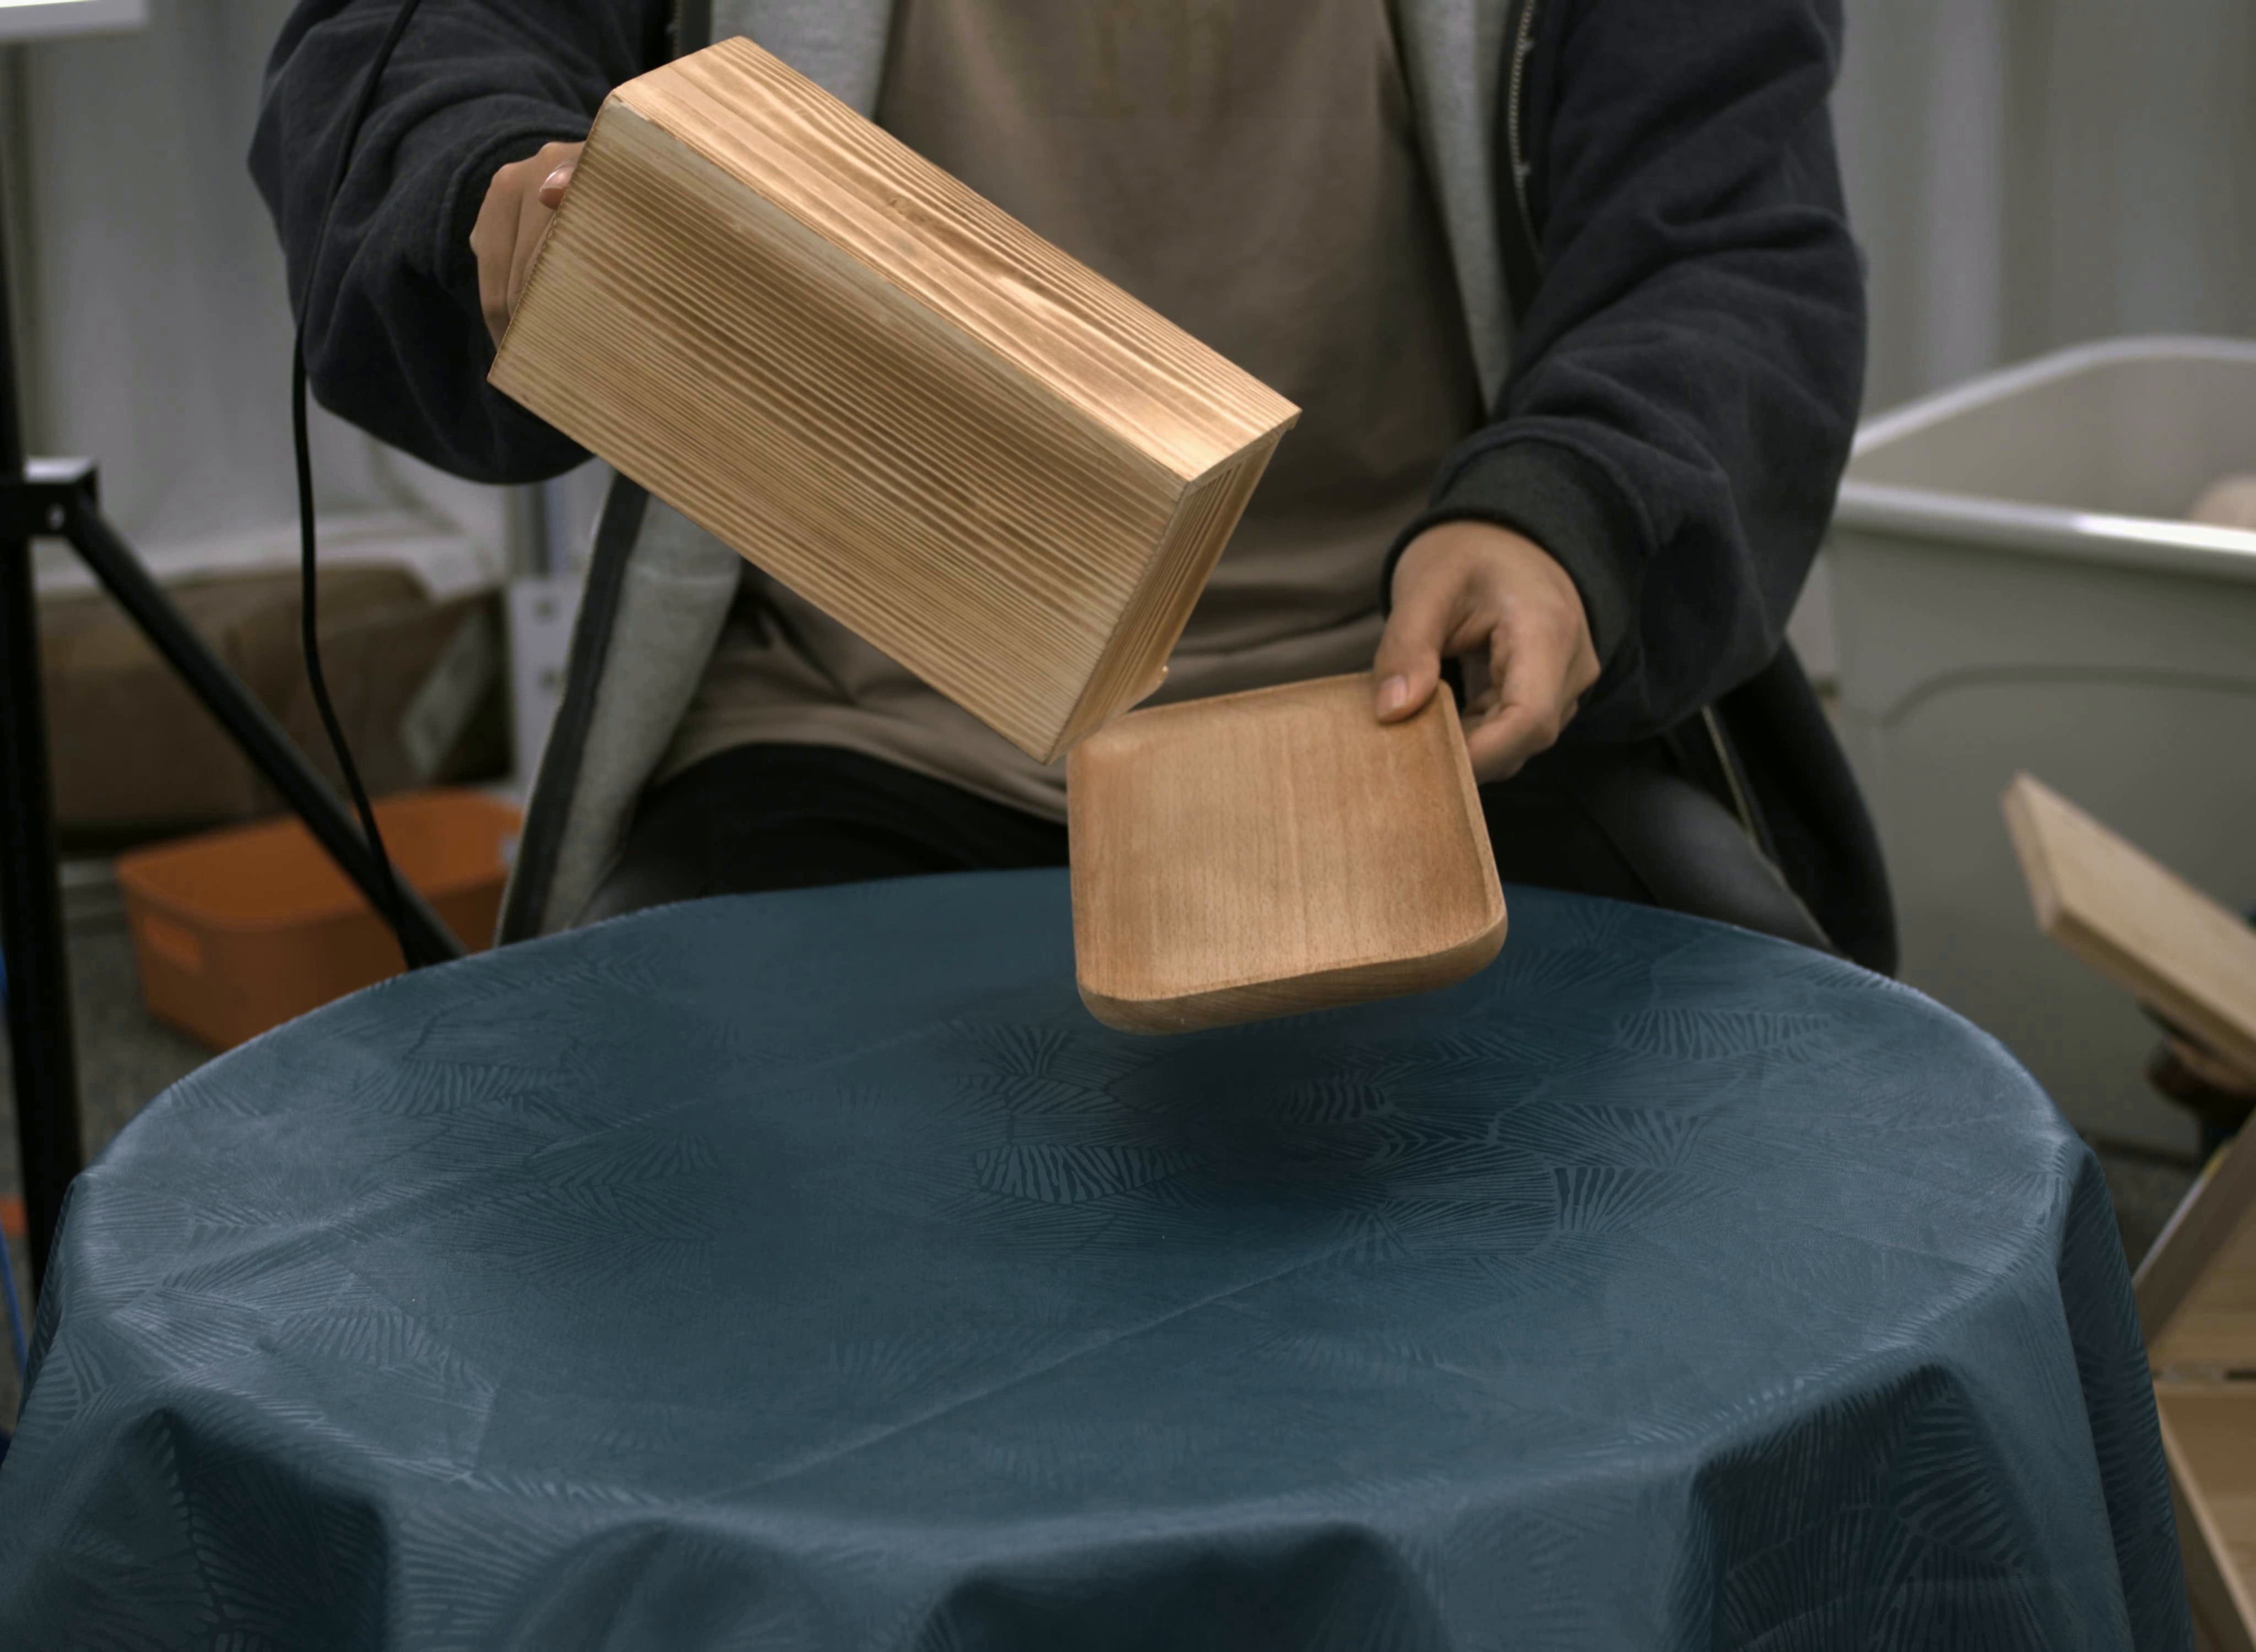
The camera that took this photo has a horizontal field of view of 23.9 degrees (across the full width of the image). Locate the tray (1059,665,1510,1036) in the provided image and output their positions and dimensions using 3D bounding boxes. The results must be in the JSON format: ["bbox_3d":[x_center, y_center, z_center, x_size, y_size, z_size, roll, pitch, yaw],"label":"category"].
[{"bbox_3d":[0.045,0.005,1.628,0.130,0.023,0.252,-7,20,2],"label":"tray"}]

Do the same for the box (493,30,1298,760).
[{"bbox_3d":[-0.071,-0.130,1.588,0.213,0.108,0.079,36,32,14],"label":"box"}]
